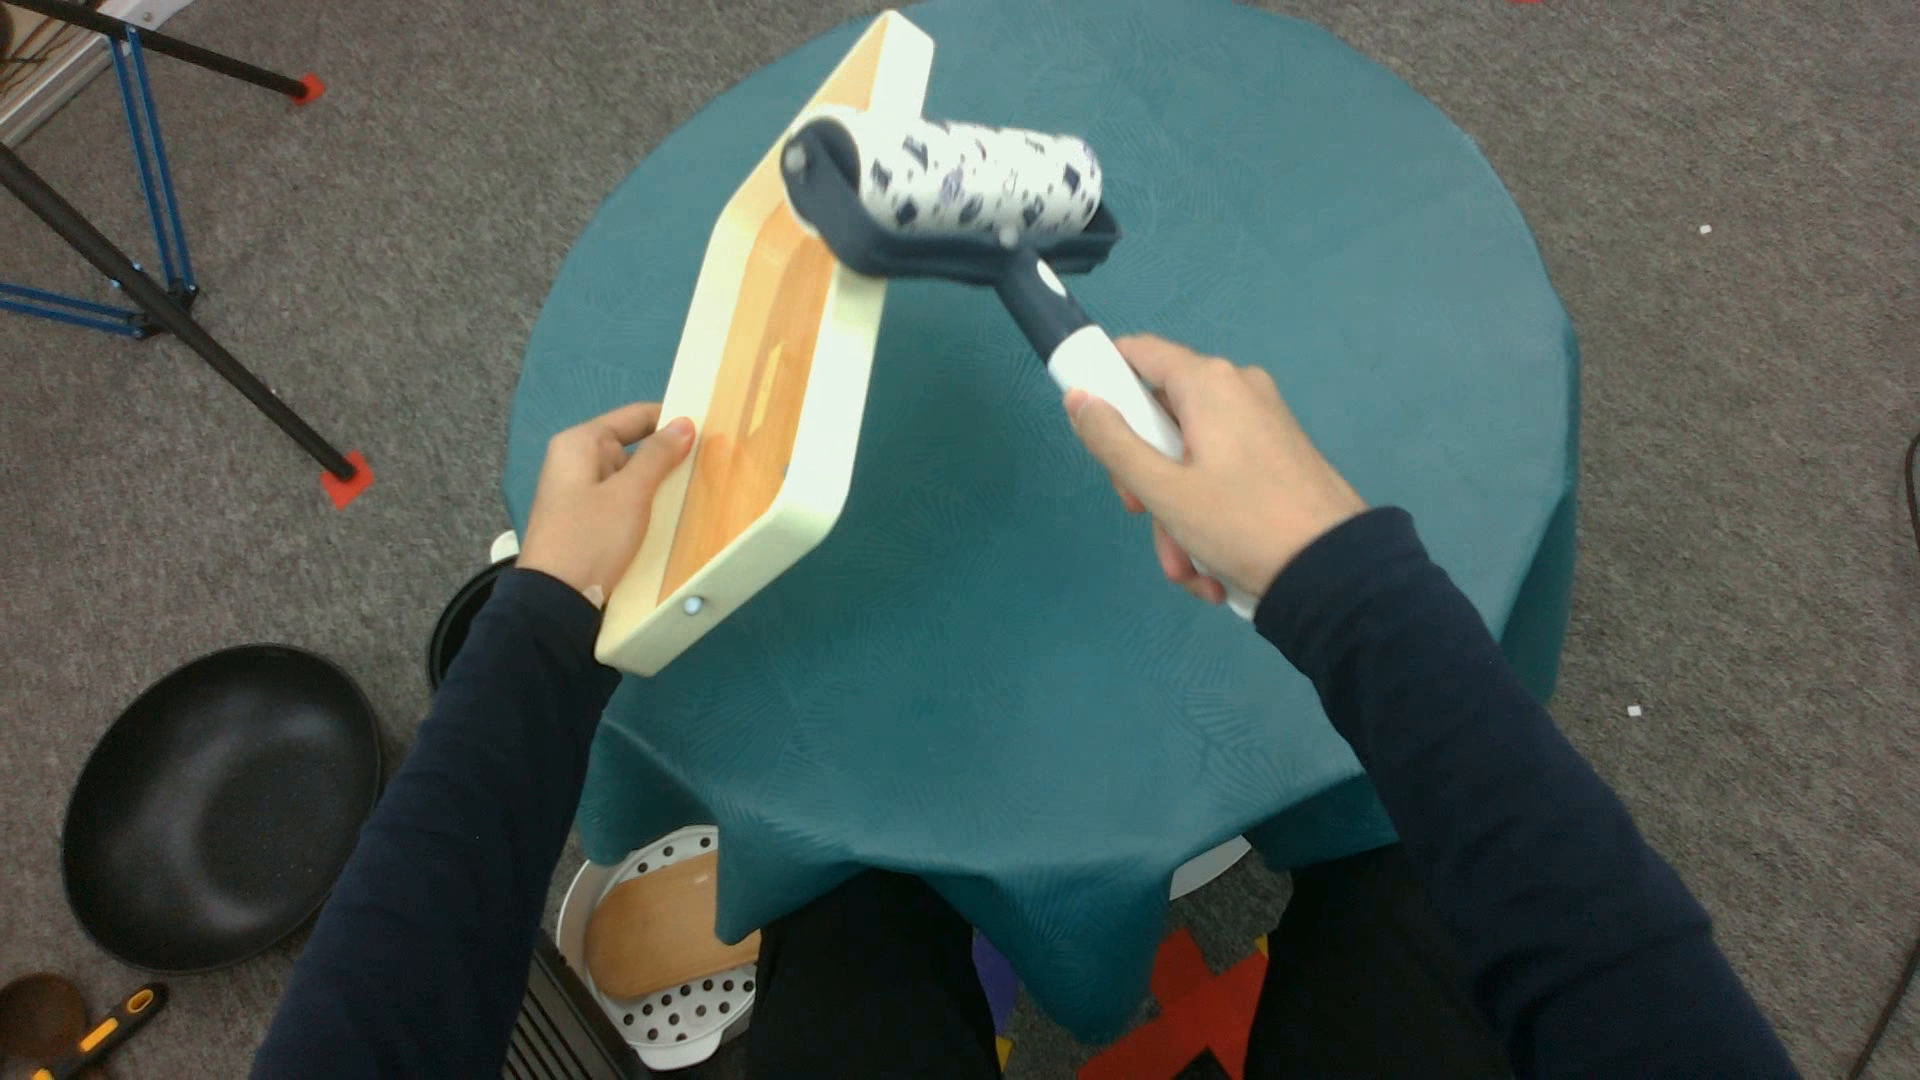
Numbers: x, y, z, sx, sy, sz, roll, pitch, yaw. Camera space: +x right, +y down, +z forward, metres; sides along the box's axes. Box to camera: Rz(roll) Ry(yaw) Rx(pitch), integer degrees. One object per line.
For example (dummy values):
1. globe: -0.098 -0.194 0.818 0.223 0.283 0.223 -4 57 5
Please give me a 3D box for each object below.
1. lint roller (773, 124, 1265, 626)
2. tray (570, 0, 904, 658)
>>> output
1. lint roller: 0.049 -0.072 0.566 0.247 0.177 0.050 53 125 15
2. tray: -0.102 -0.105 0.650 0.190 0.027 0.301 -33 41 44
